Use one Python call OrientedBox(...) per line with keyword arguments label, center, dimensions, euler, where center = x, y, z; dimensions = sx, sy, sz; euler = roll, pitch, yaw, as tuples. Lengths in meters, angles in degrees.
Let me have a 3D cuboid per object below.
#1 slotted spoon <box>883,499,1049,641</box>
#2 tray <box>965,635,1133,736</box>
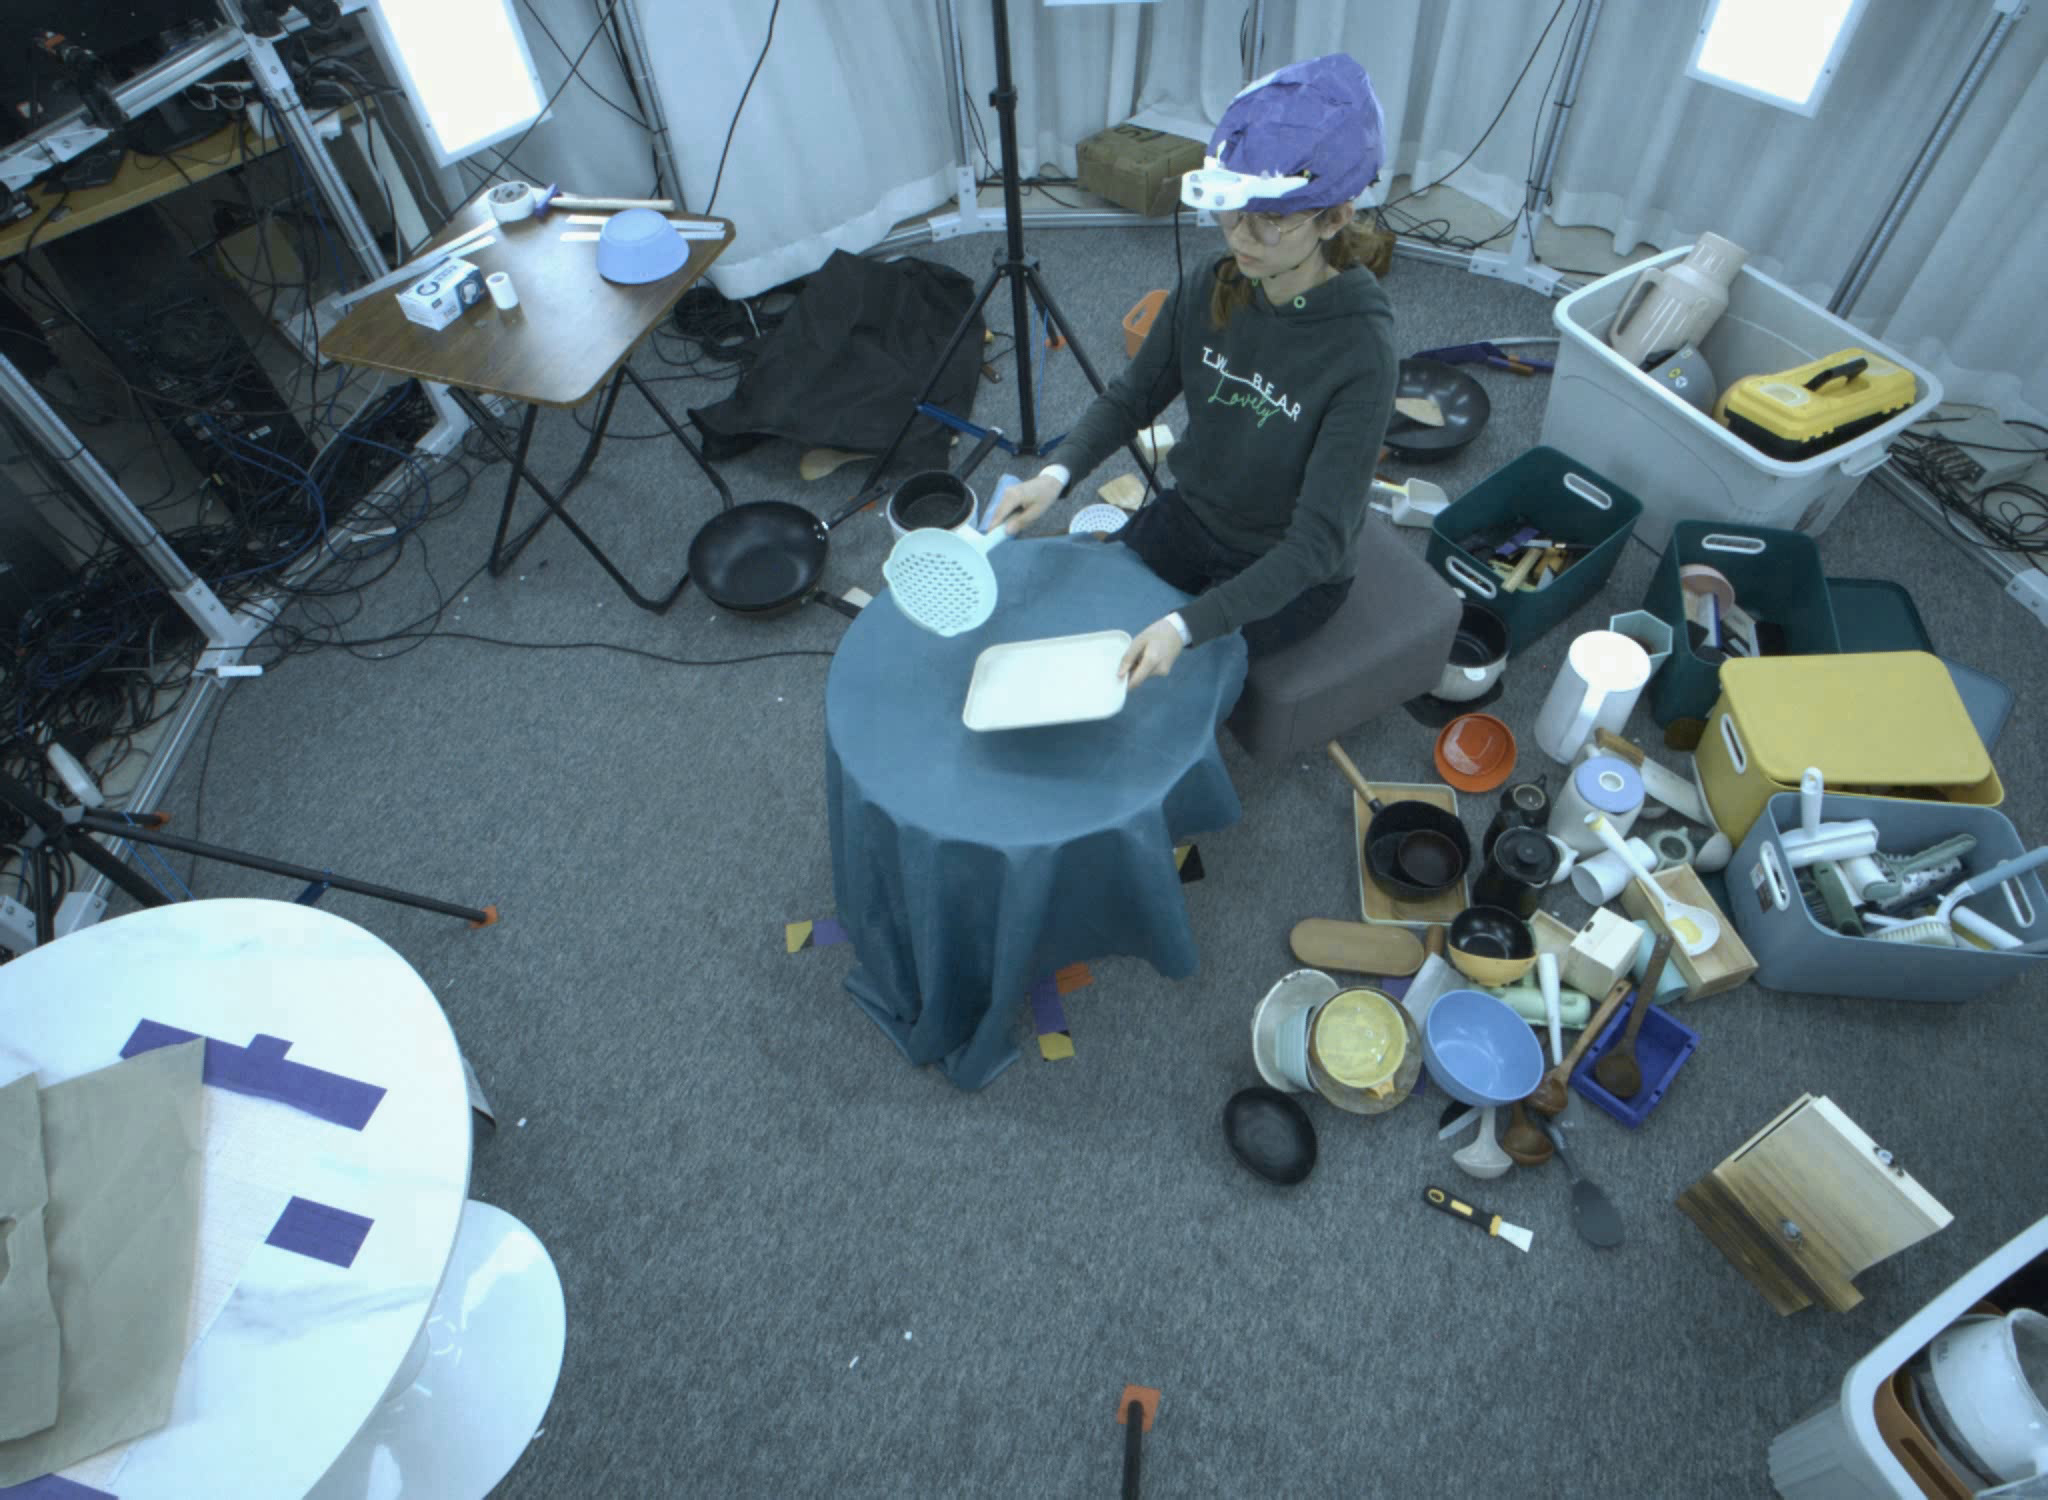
OrientedBox(label="slotted spoon", center=(-0.066, -0.294, 1.834), dimensions=(0.170, 0.074, 0.361), euler=(48, 62, -6))
OrientedBox(label="tray", center=(0.037, -0.090, 1.759), dimensions=(0.237, 0.018, 0.170), euler=(-5, 49, 16))
